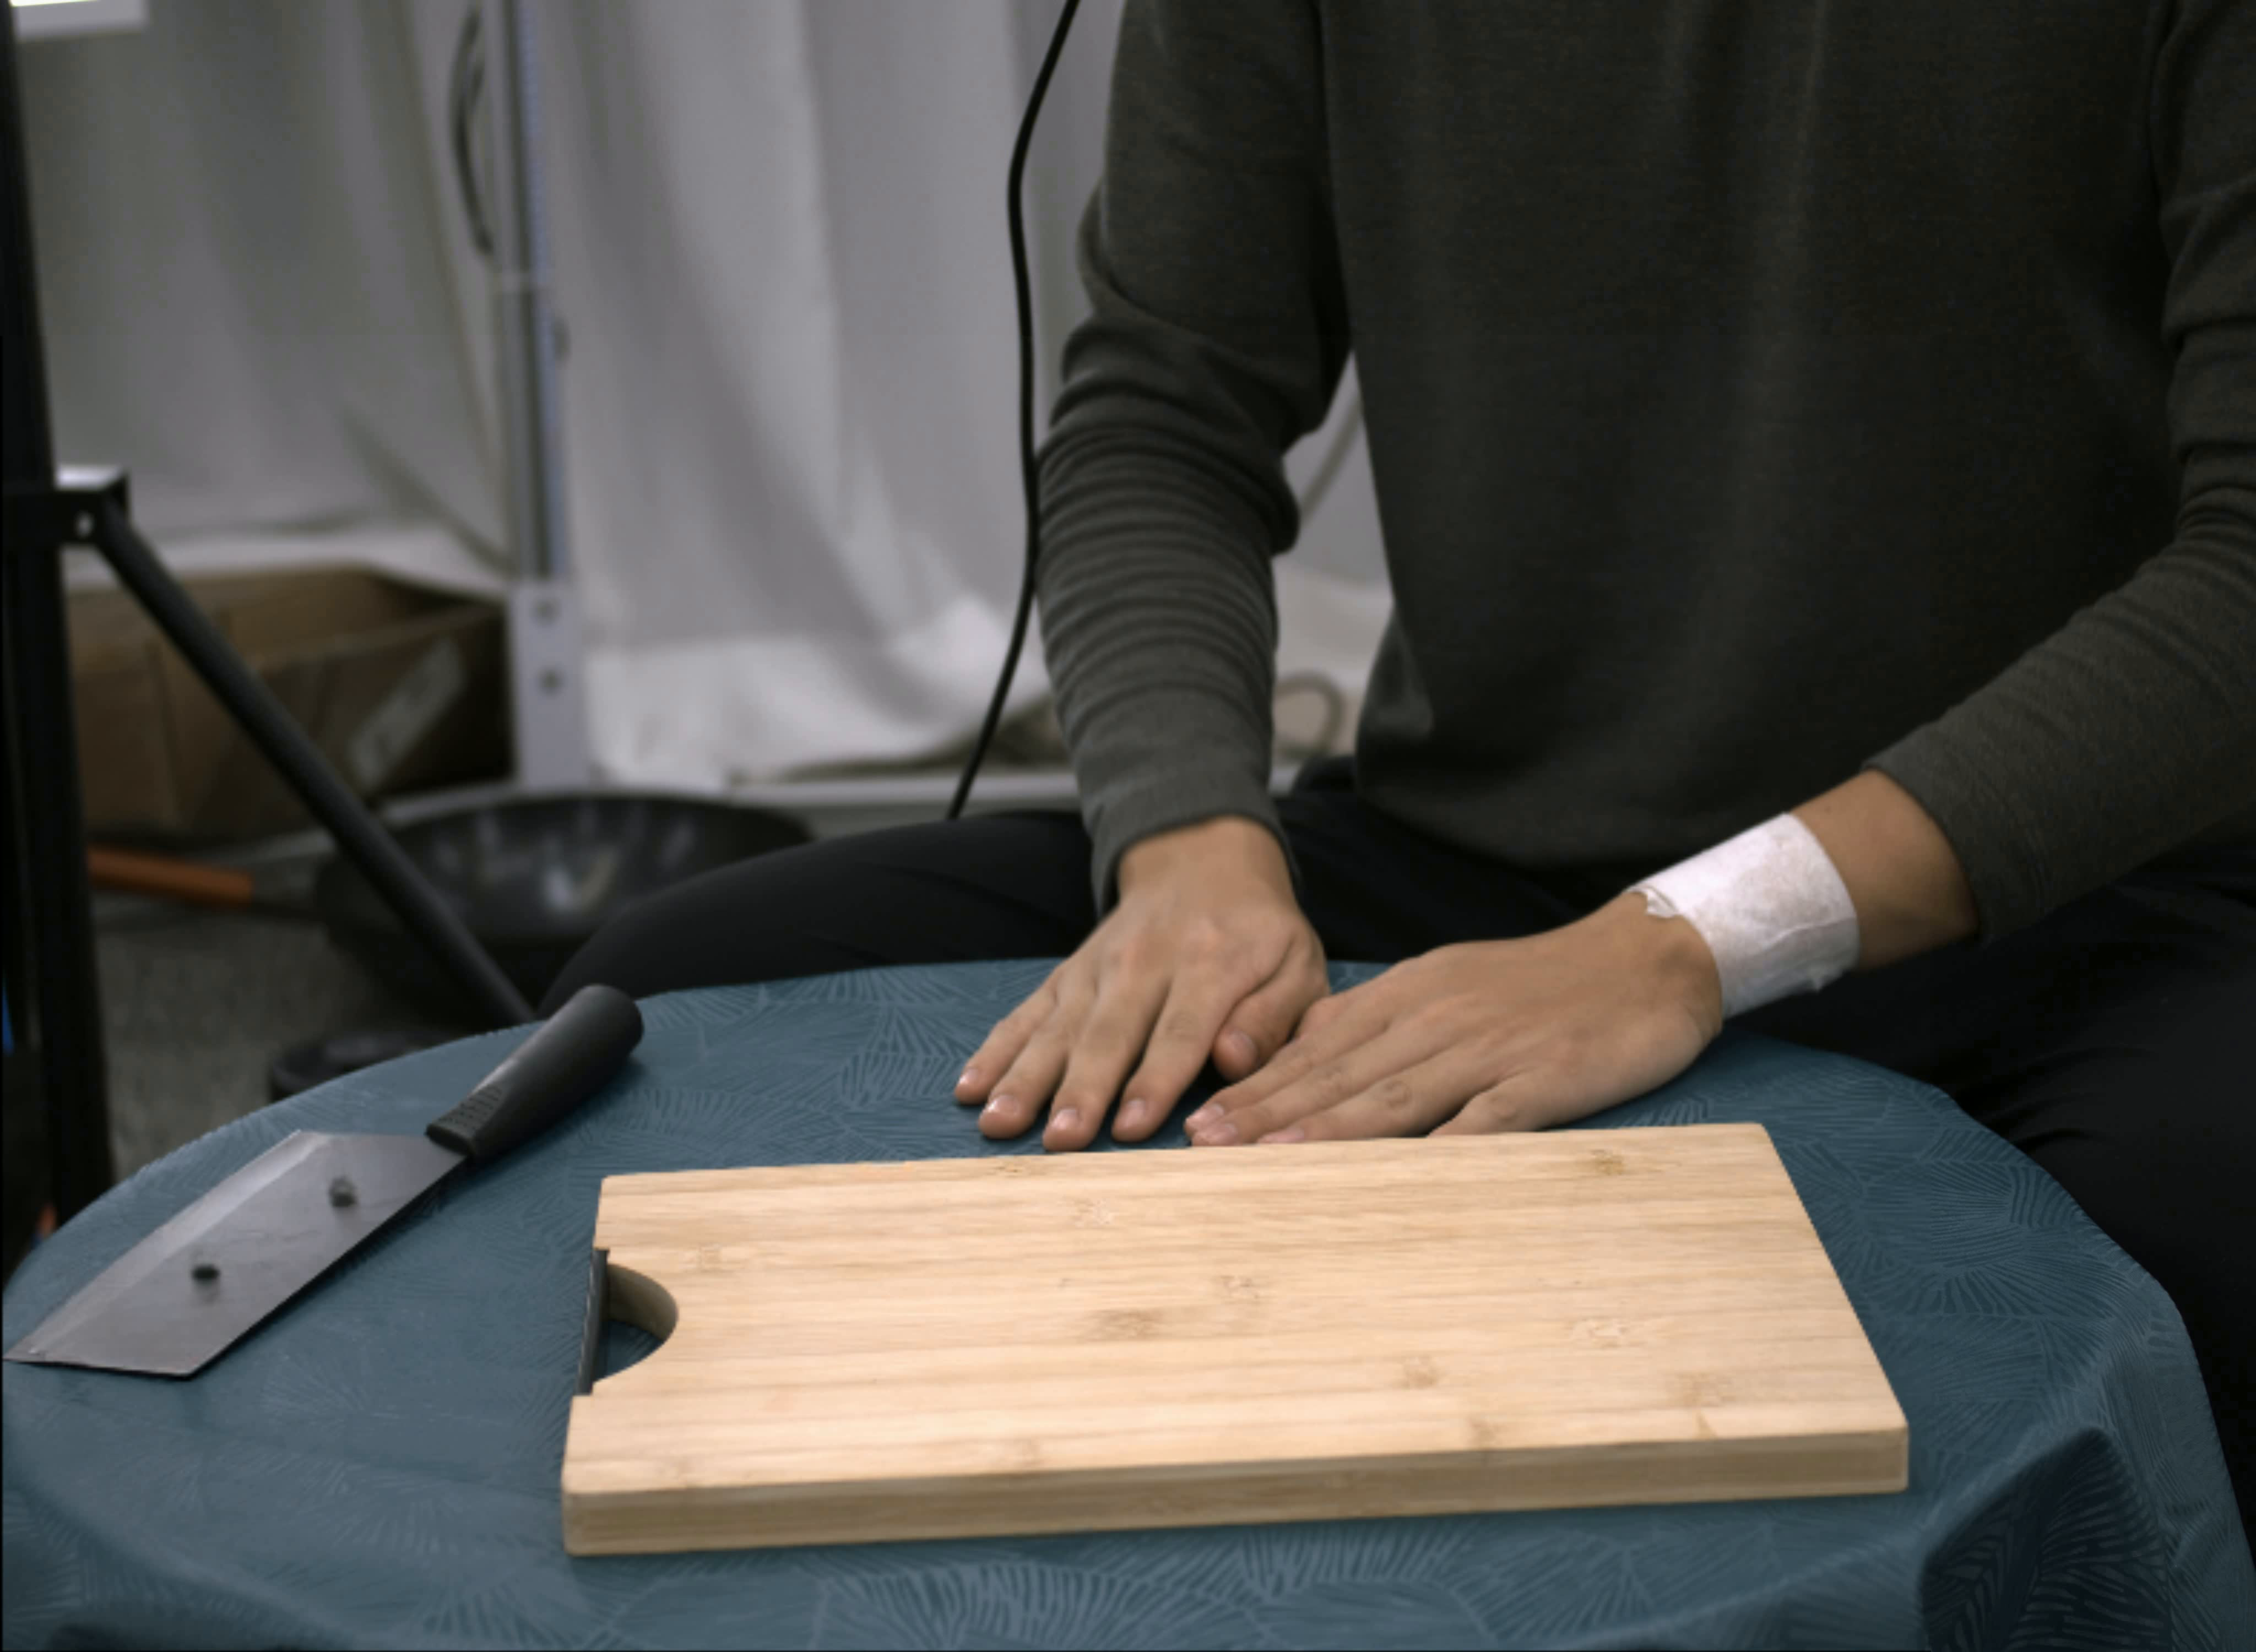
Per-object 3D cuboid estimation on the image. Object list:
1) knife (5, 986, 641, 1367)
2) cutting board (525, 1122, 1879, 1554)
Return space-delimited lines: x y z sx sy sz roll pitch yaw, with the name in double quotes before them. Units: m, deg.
"knife" -0.229 0.103 1.590 0.082 0.021 0.298 4 19 25
"cutting board" 0.017 0.135 1.434 0.346 0.023 0.252 -3 15 -1
